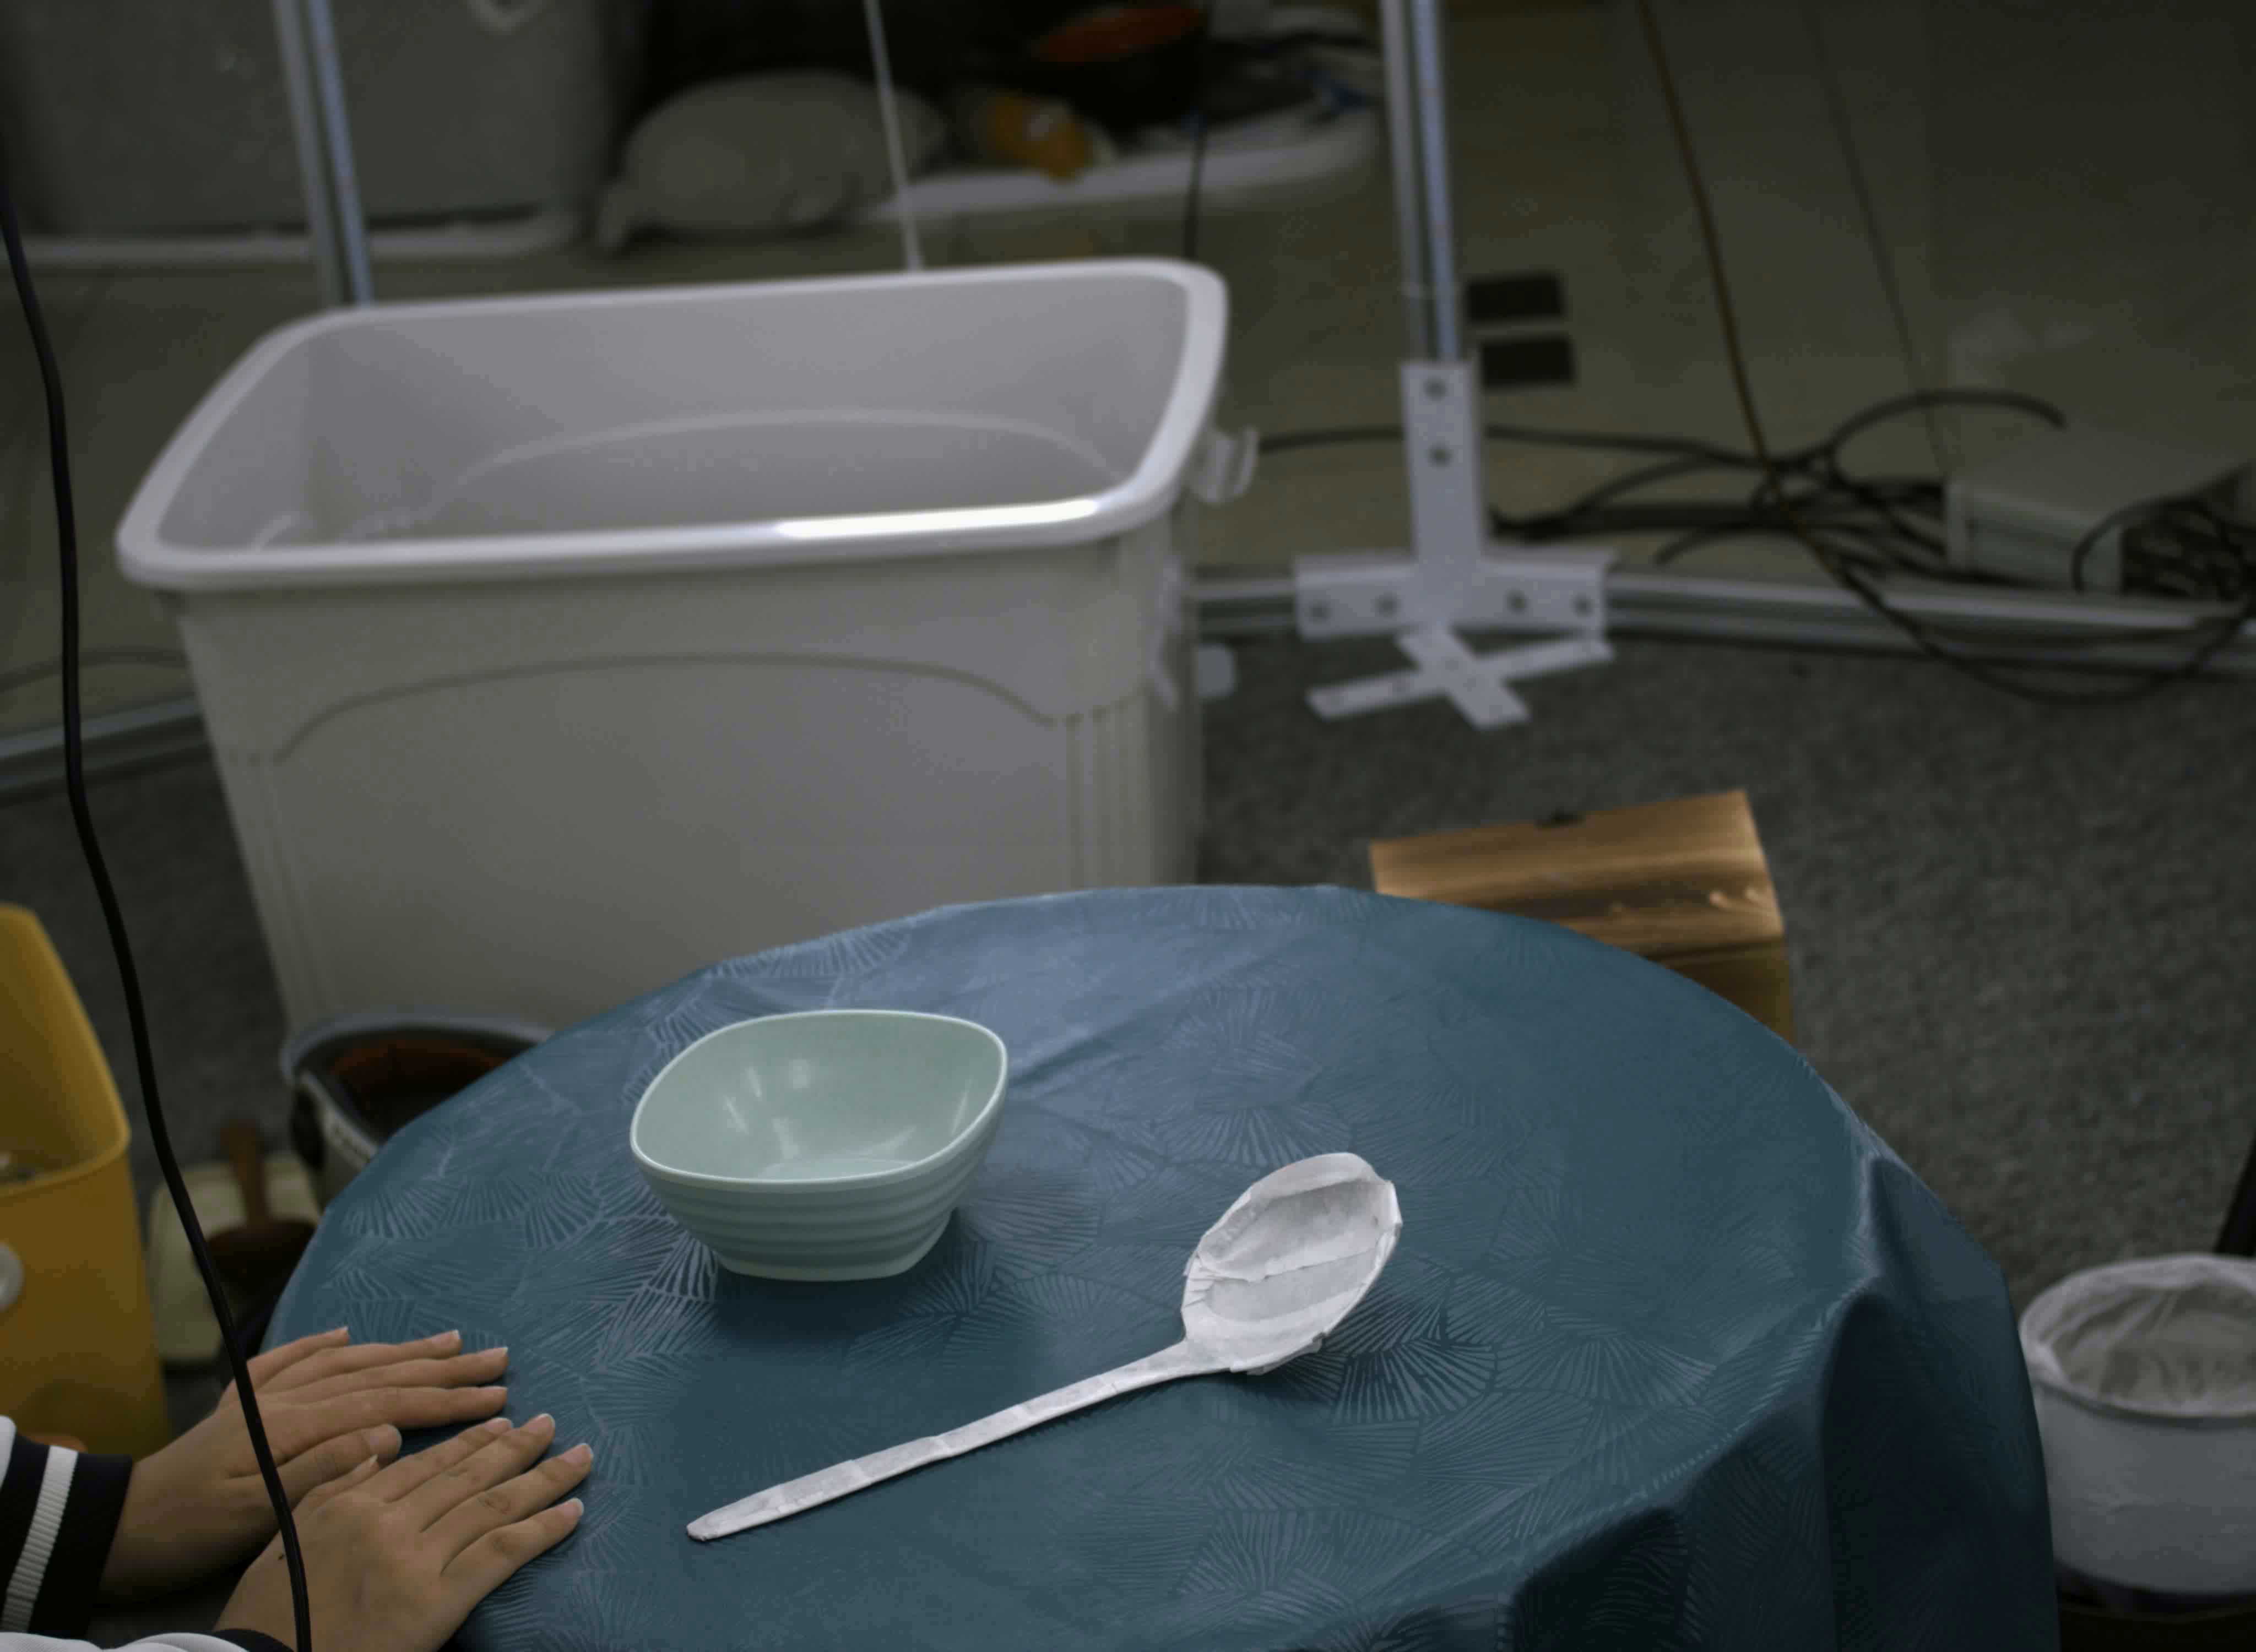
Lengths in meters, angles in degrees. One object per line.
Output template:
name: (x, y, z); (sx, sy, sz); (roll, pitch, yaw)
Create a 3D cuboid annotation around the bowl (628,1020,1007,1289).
bowl: (-0.113, 0.129, 2.135); (0.151, 0.059, 0.149); (-5, 25, 3)

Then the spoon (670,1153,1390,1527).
spoon: (-0.036, 0.180, 2.001); (0.276, 0.060, 0.099); (-15, 22, -18)
